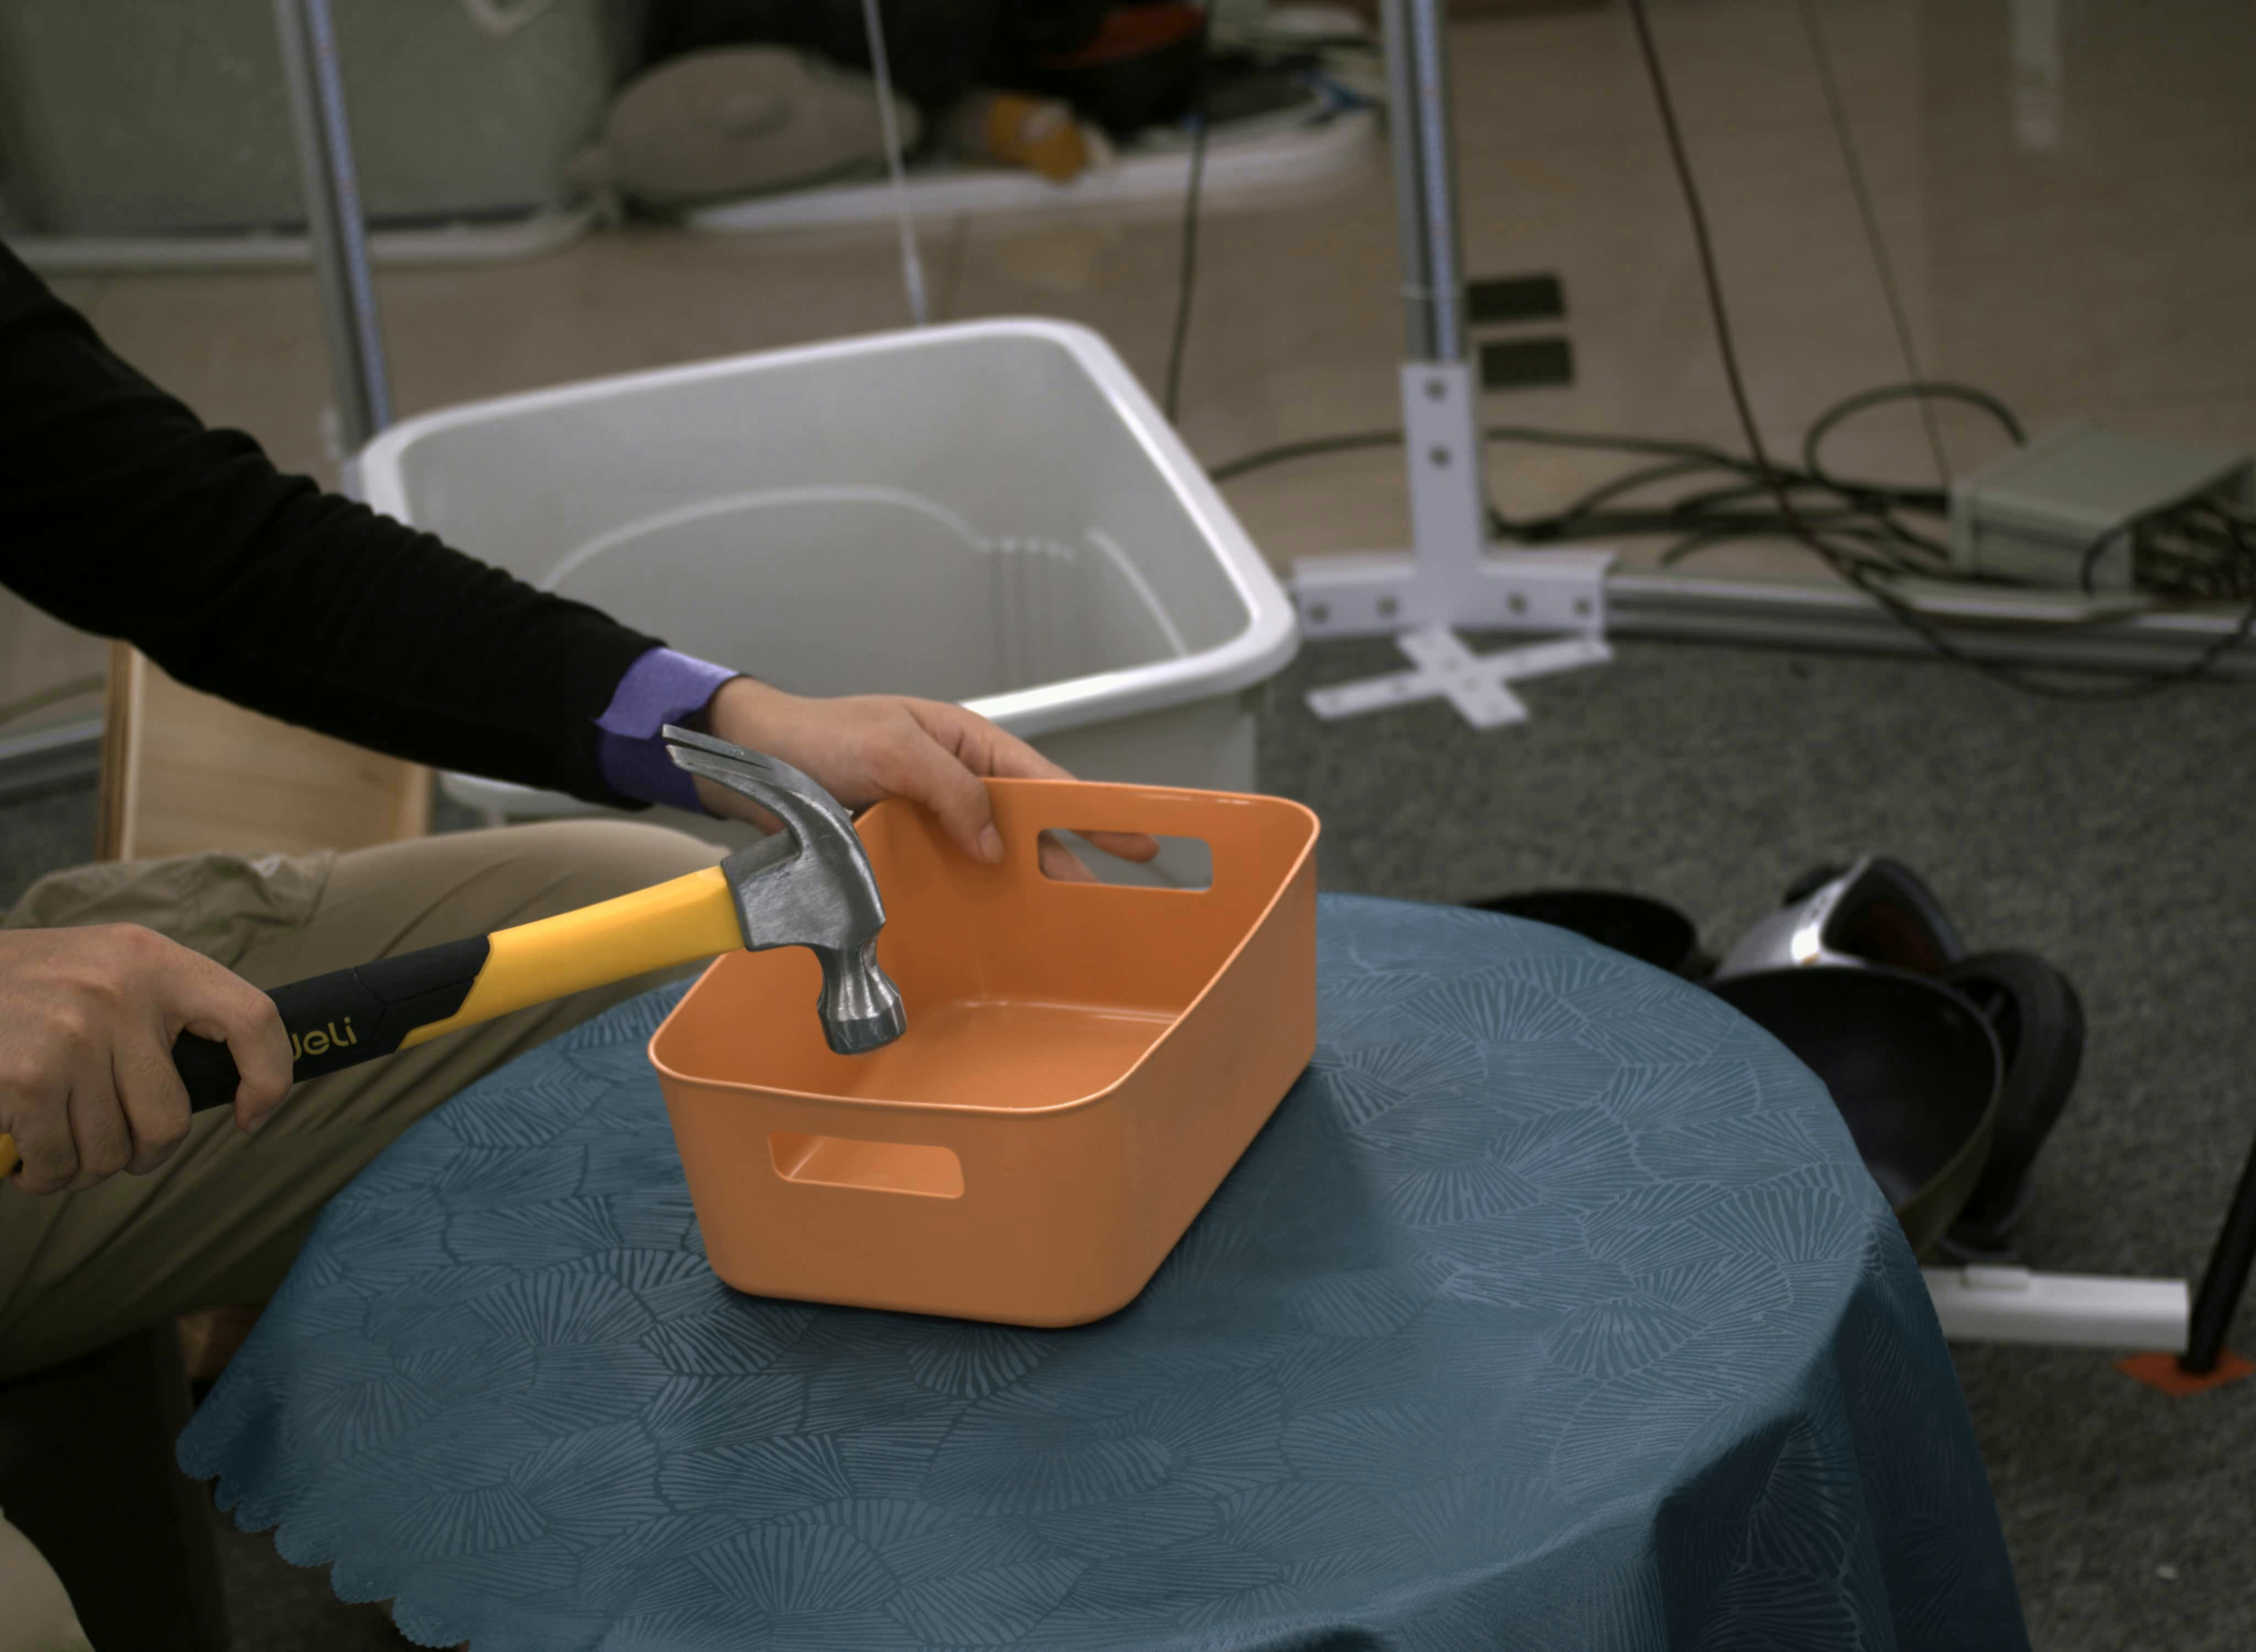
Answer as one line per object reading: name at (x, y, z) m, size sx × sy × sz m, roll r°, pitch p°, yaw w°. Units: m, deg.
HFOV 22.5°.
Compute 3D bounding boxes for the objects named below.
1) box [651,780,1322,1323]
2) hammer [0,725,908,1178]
box at (-0.046, 0.085, 2.154) m, size 0.199 × 0.104 × 0.269 m, roll 3°, pitch 26°, yaw 22°
hammer at (-0.251, 0.060, 1.956) m, size 0.337 × 0.133 × 0.032 m, roll -16°, pitch 27°, yaw -6°
